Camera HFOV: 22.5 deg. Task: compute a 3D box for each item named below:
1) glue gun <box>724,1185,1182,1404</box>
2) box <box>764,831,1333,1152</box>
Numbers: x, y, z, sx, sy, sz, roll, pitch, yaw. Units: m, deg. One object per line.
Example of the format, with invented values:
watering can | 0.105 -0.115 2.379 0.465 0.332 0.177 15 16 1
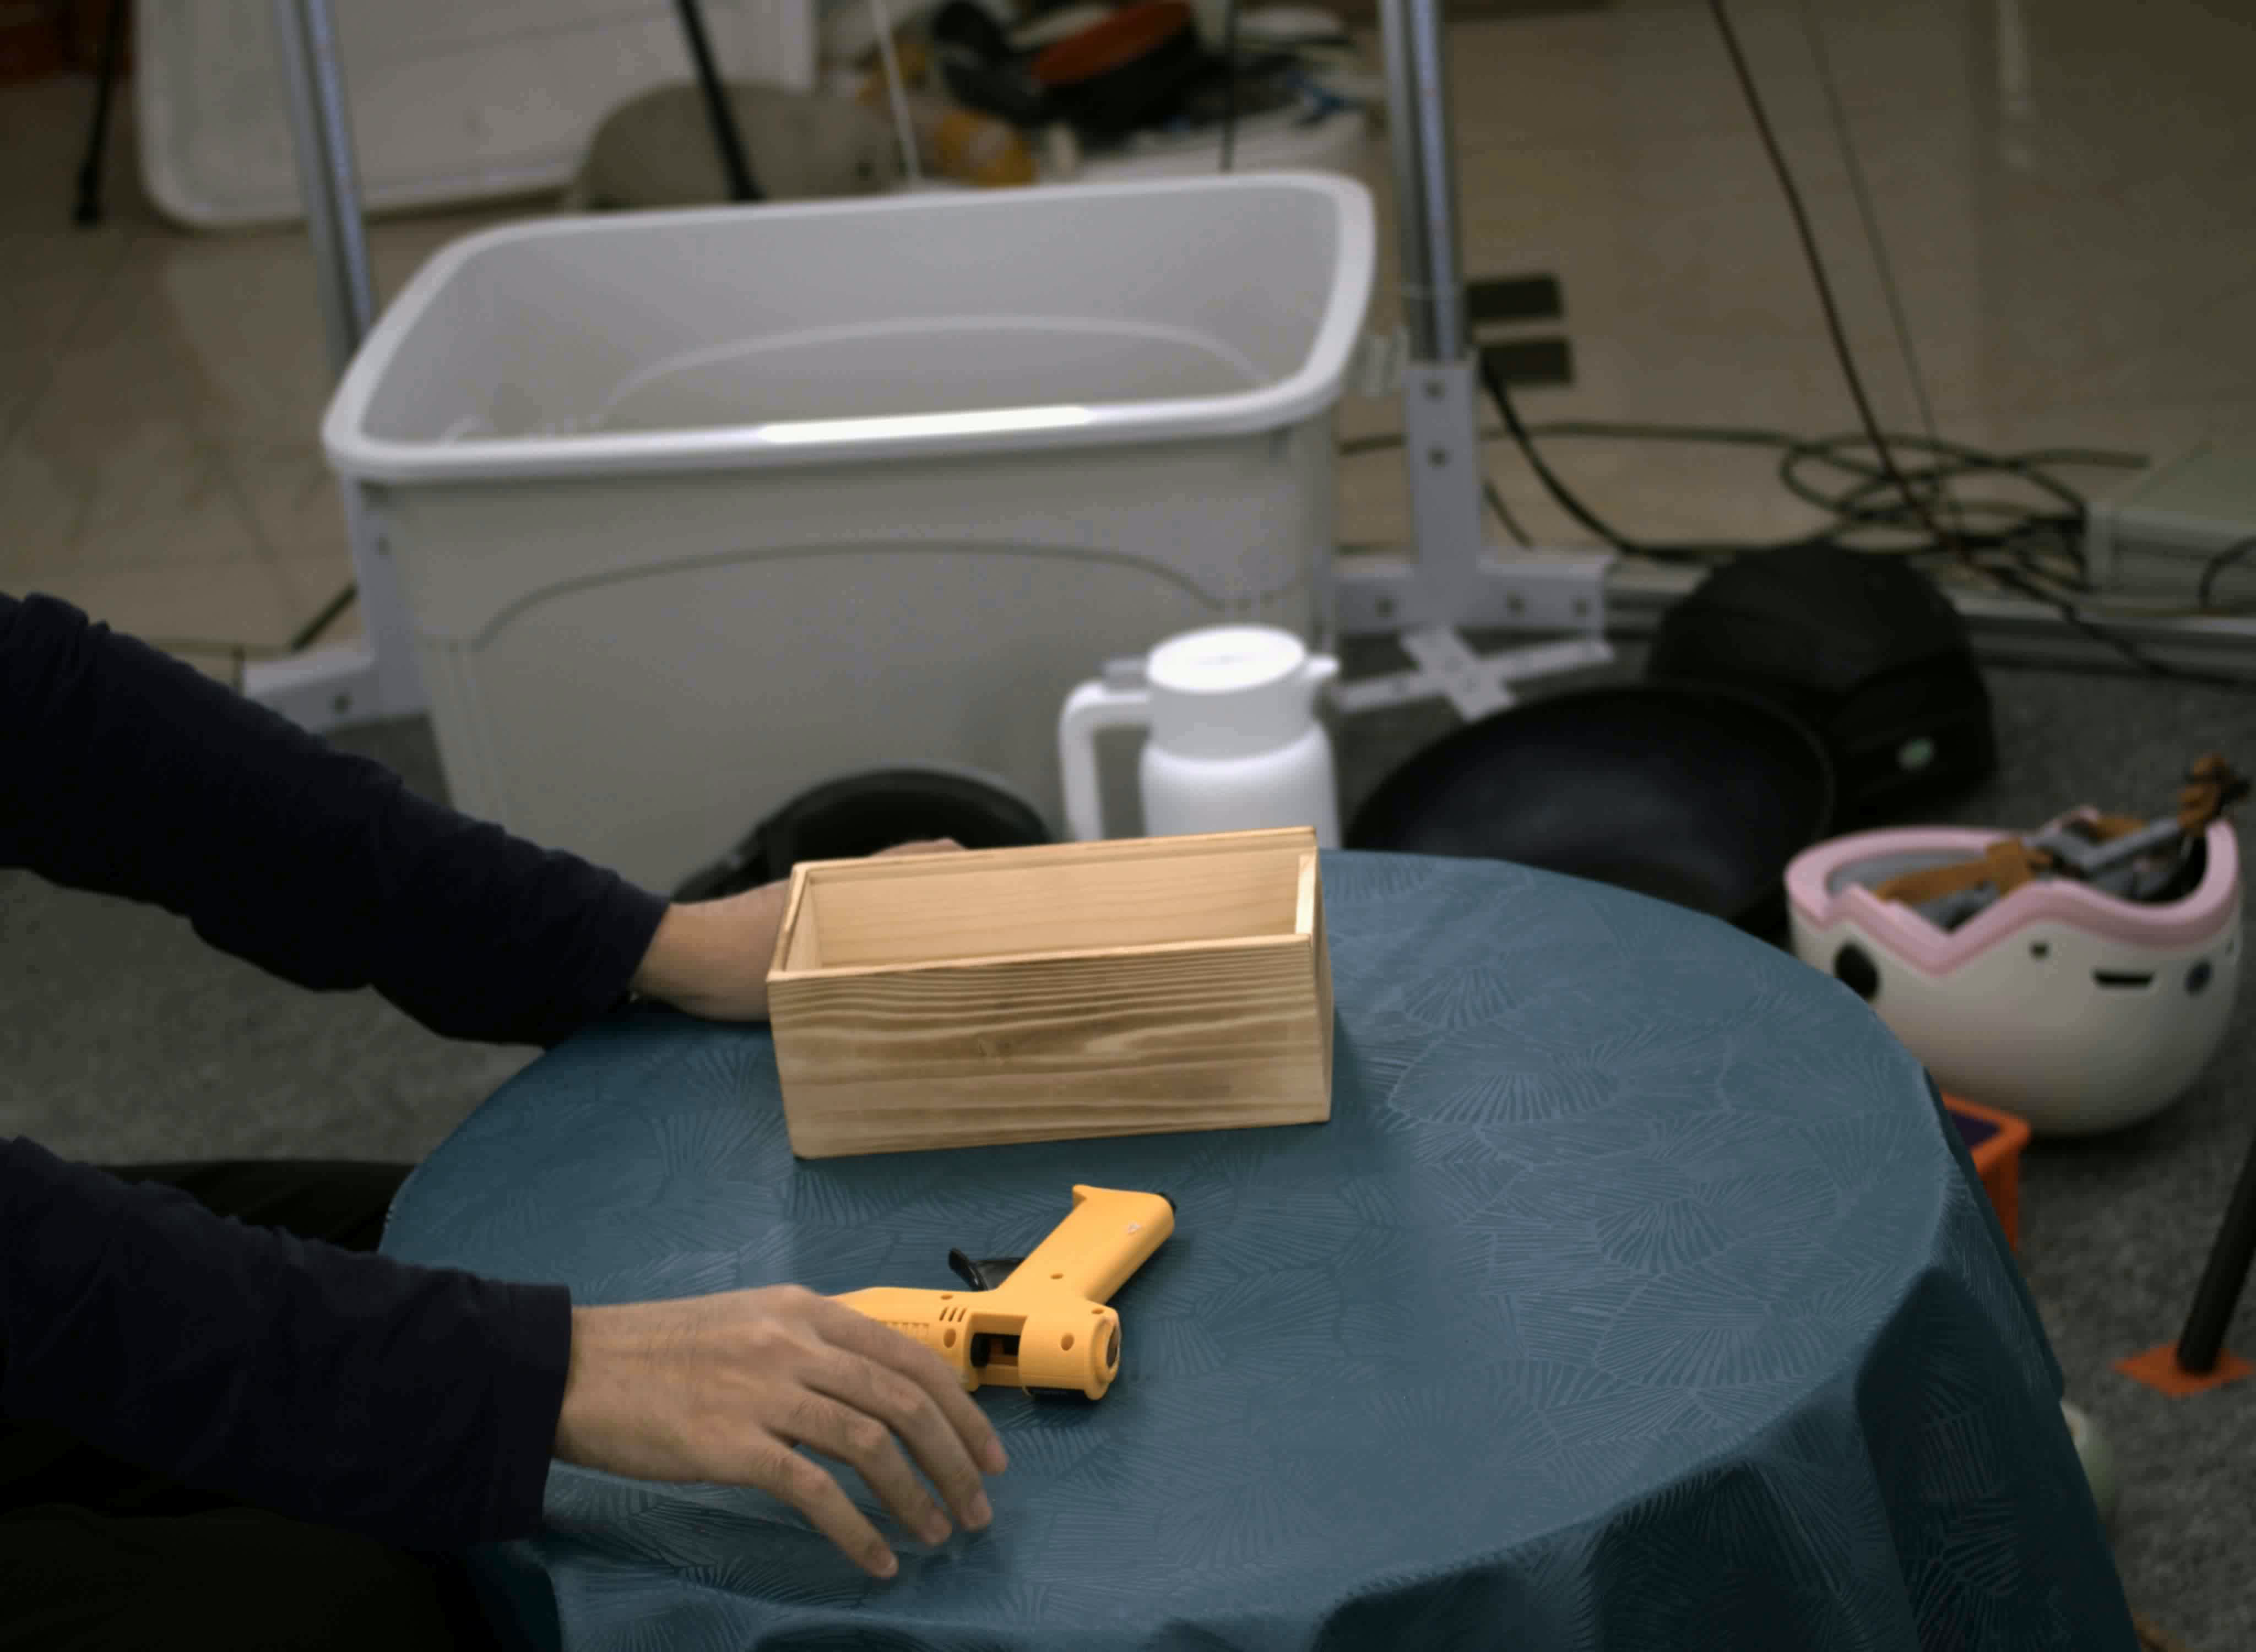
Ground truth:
glue gun | -0.065 0.168 2.071 0.151 0.031 0.131 0 25 13
box | -0.029 0.064 2.220 0.211 0.081 0.106 -3 25 5
